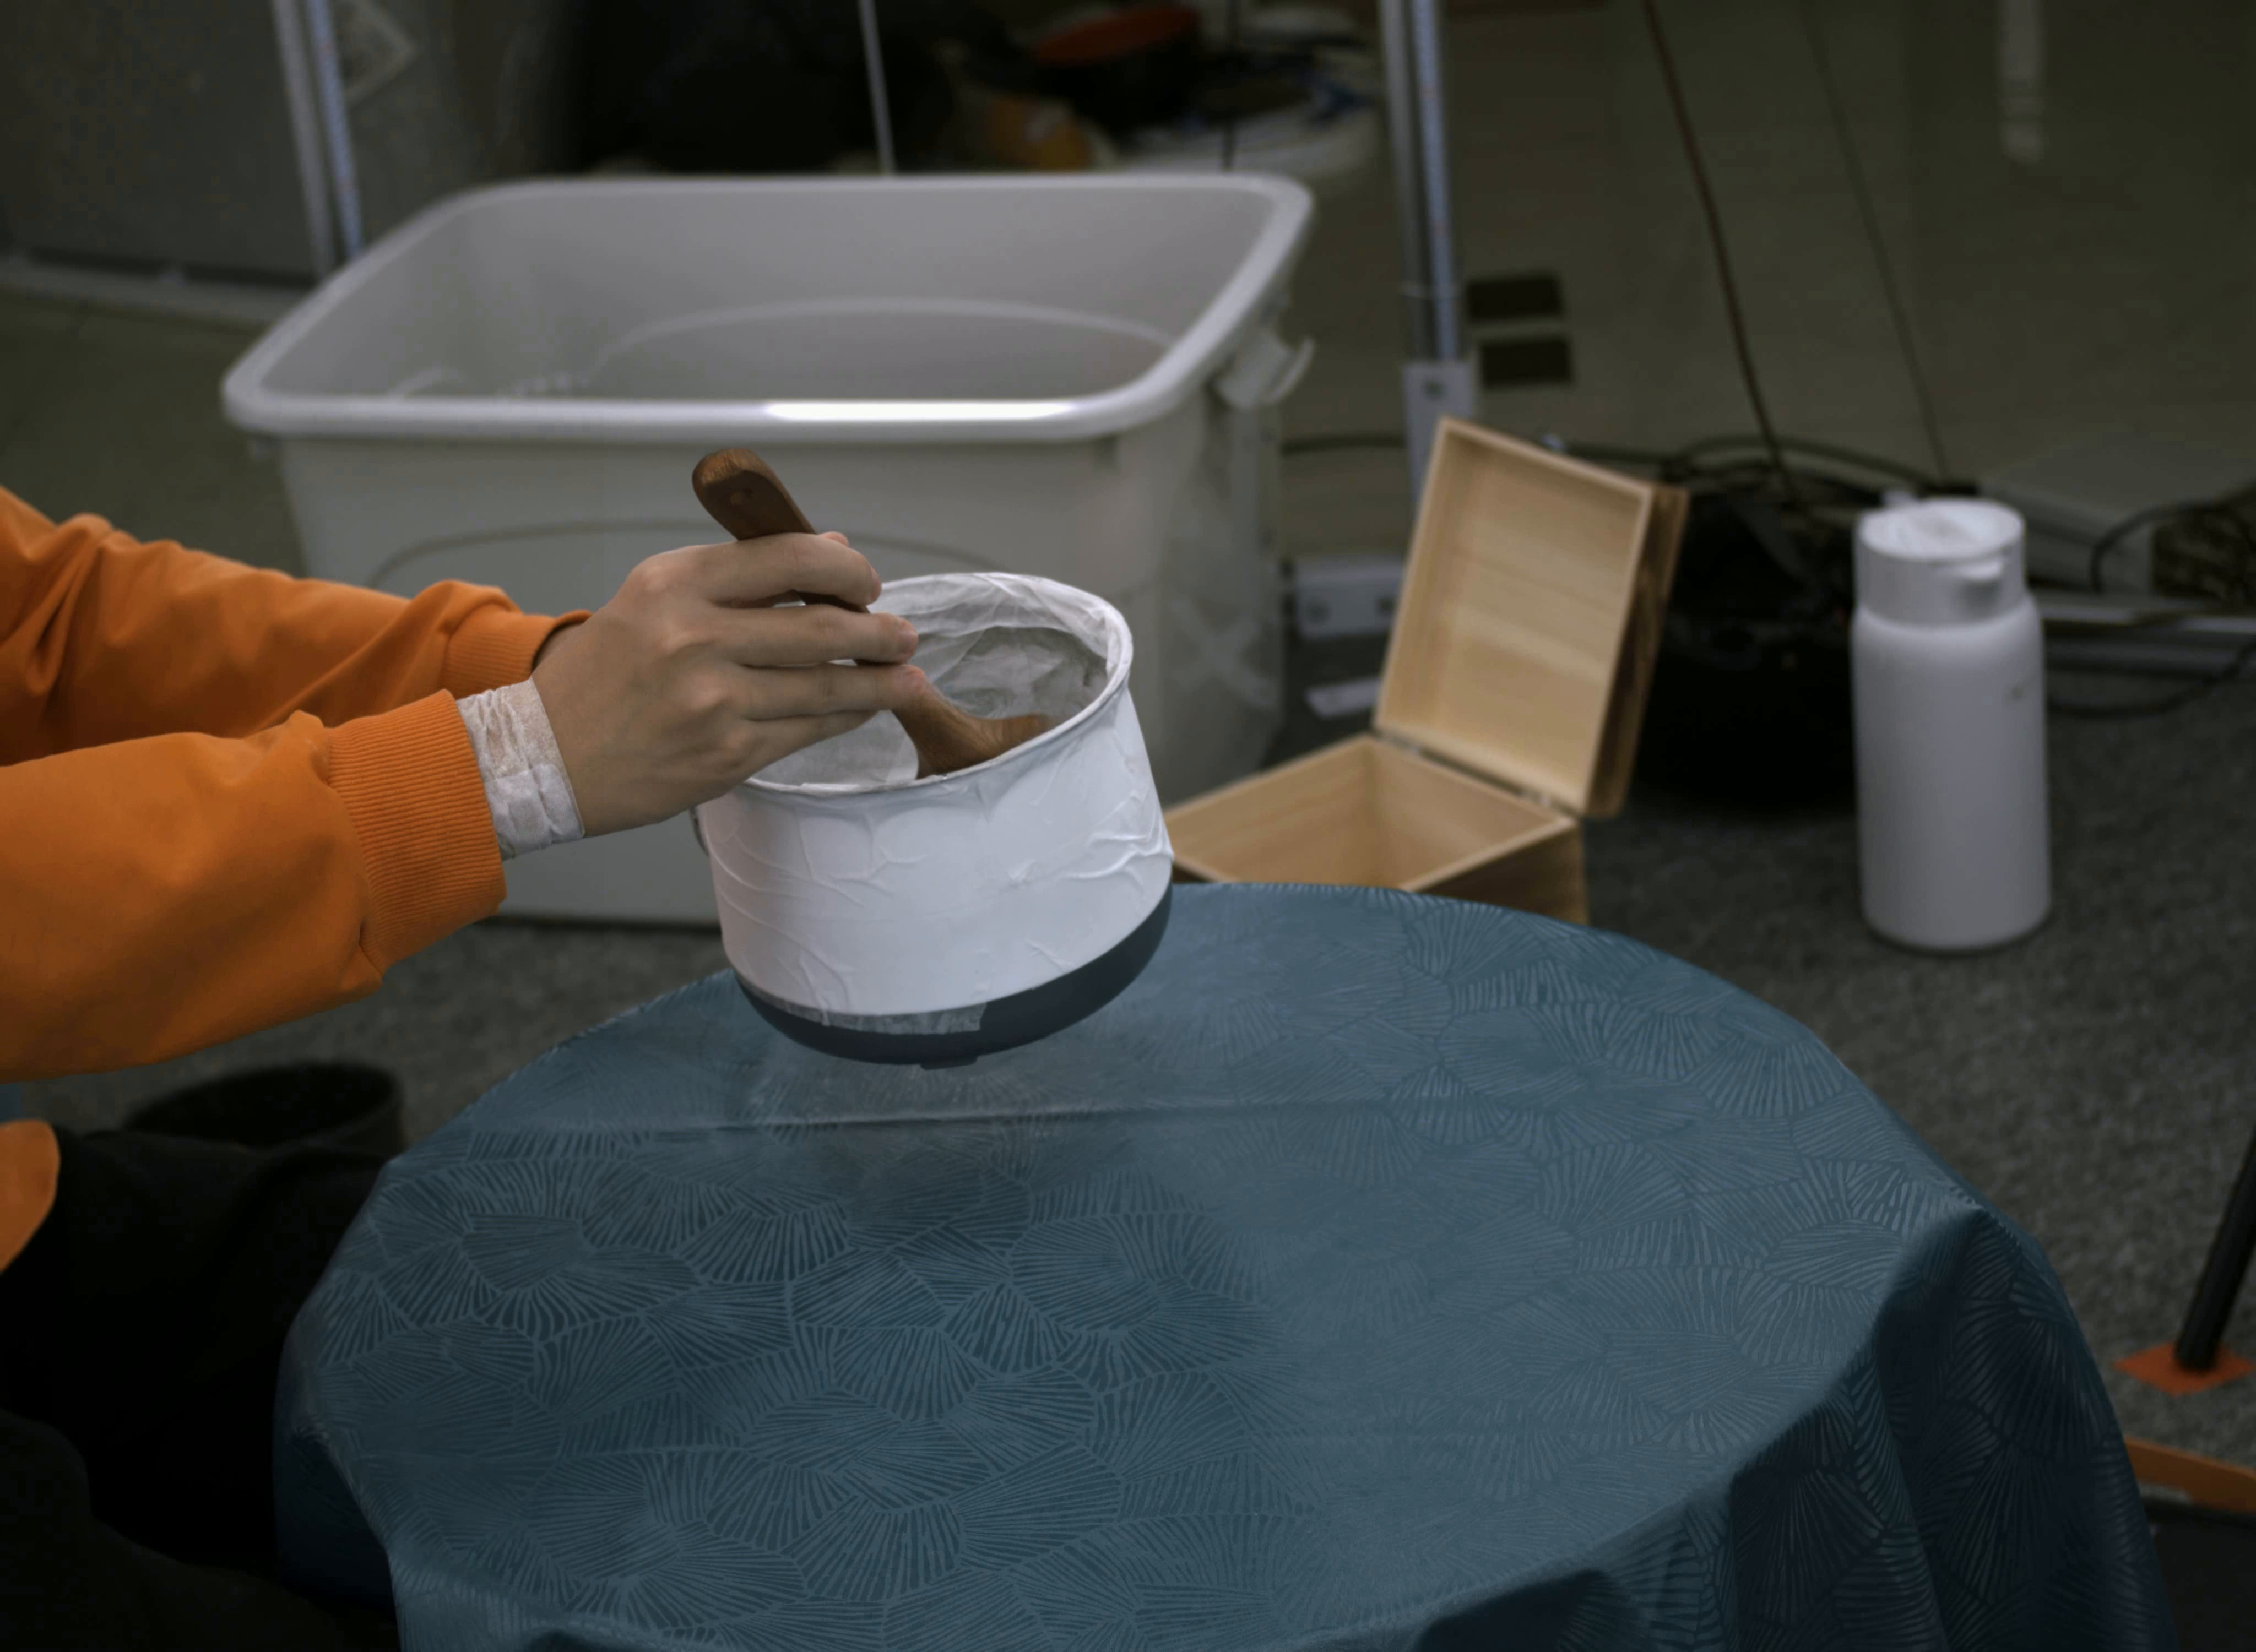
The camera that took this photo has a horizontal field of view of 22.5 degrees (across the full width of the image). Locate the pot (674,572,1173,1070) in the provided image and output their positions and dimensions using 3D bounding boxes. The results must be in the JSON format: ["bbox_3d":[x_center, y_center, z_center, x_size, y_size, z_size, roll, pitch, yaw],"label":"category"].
[{"bbox_3d":[-0.094,-0.007,2.191,0.177,0.139,0.232,-31,35,-34],"label":"pot"}]

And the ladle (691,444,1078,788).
[{"bbox_3d":[-0.095,-0.075,2.058,0.076,0.264,0.064,-35,47,6],"label":"ladle"}]
